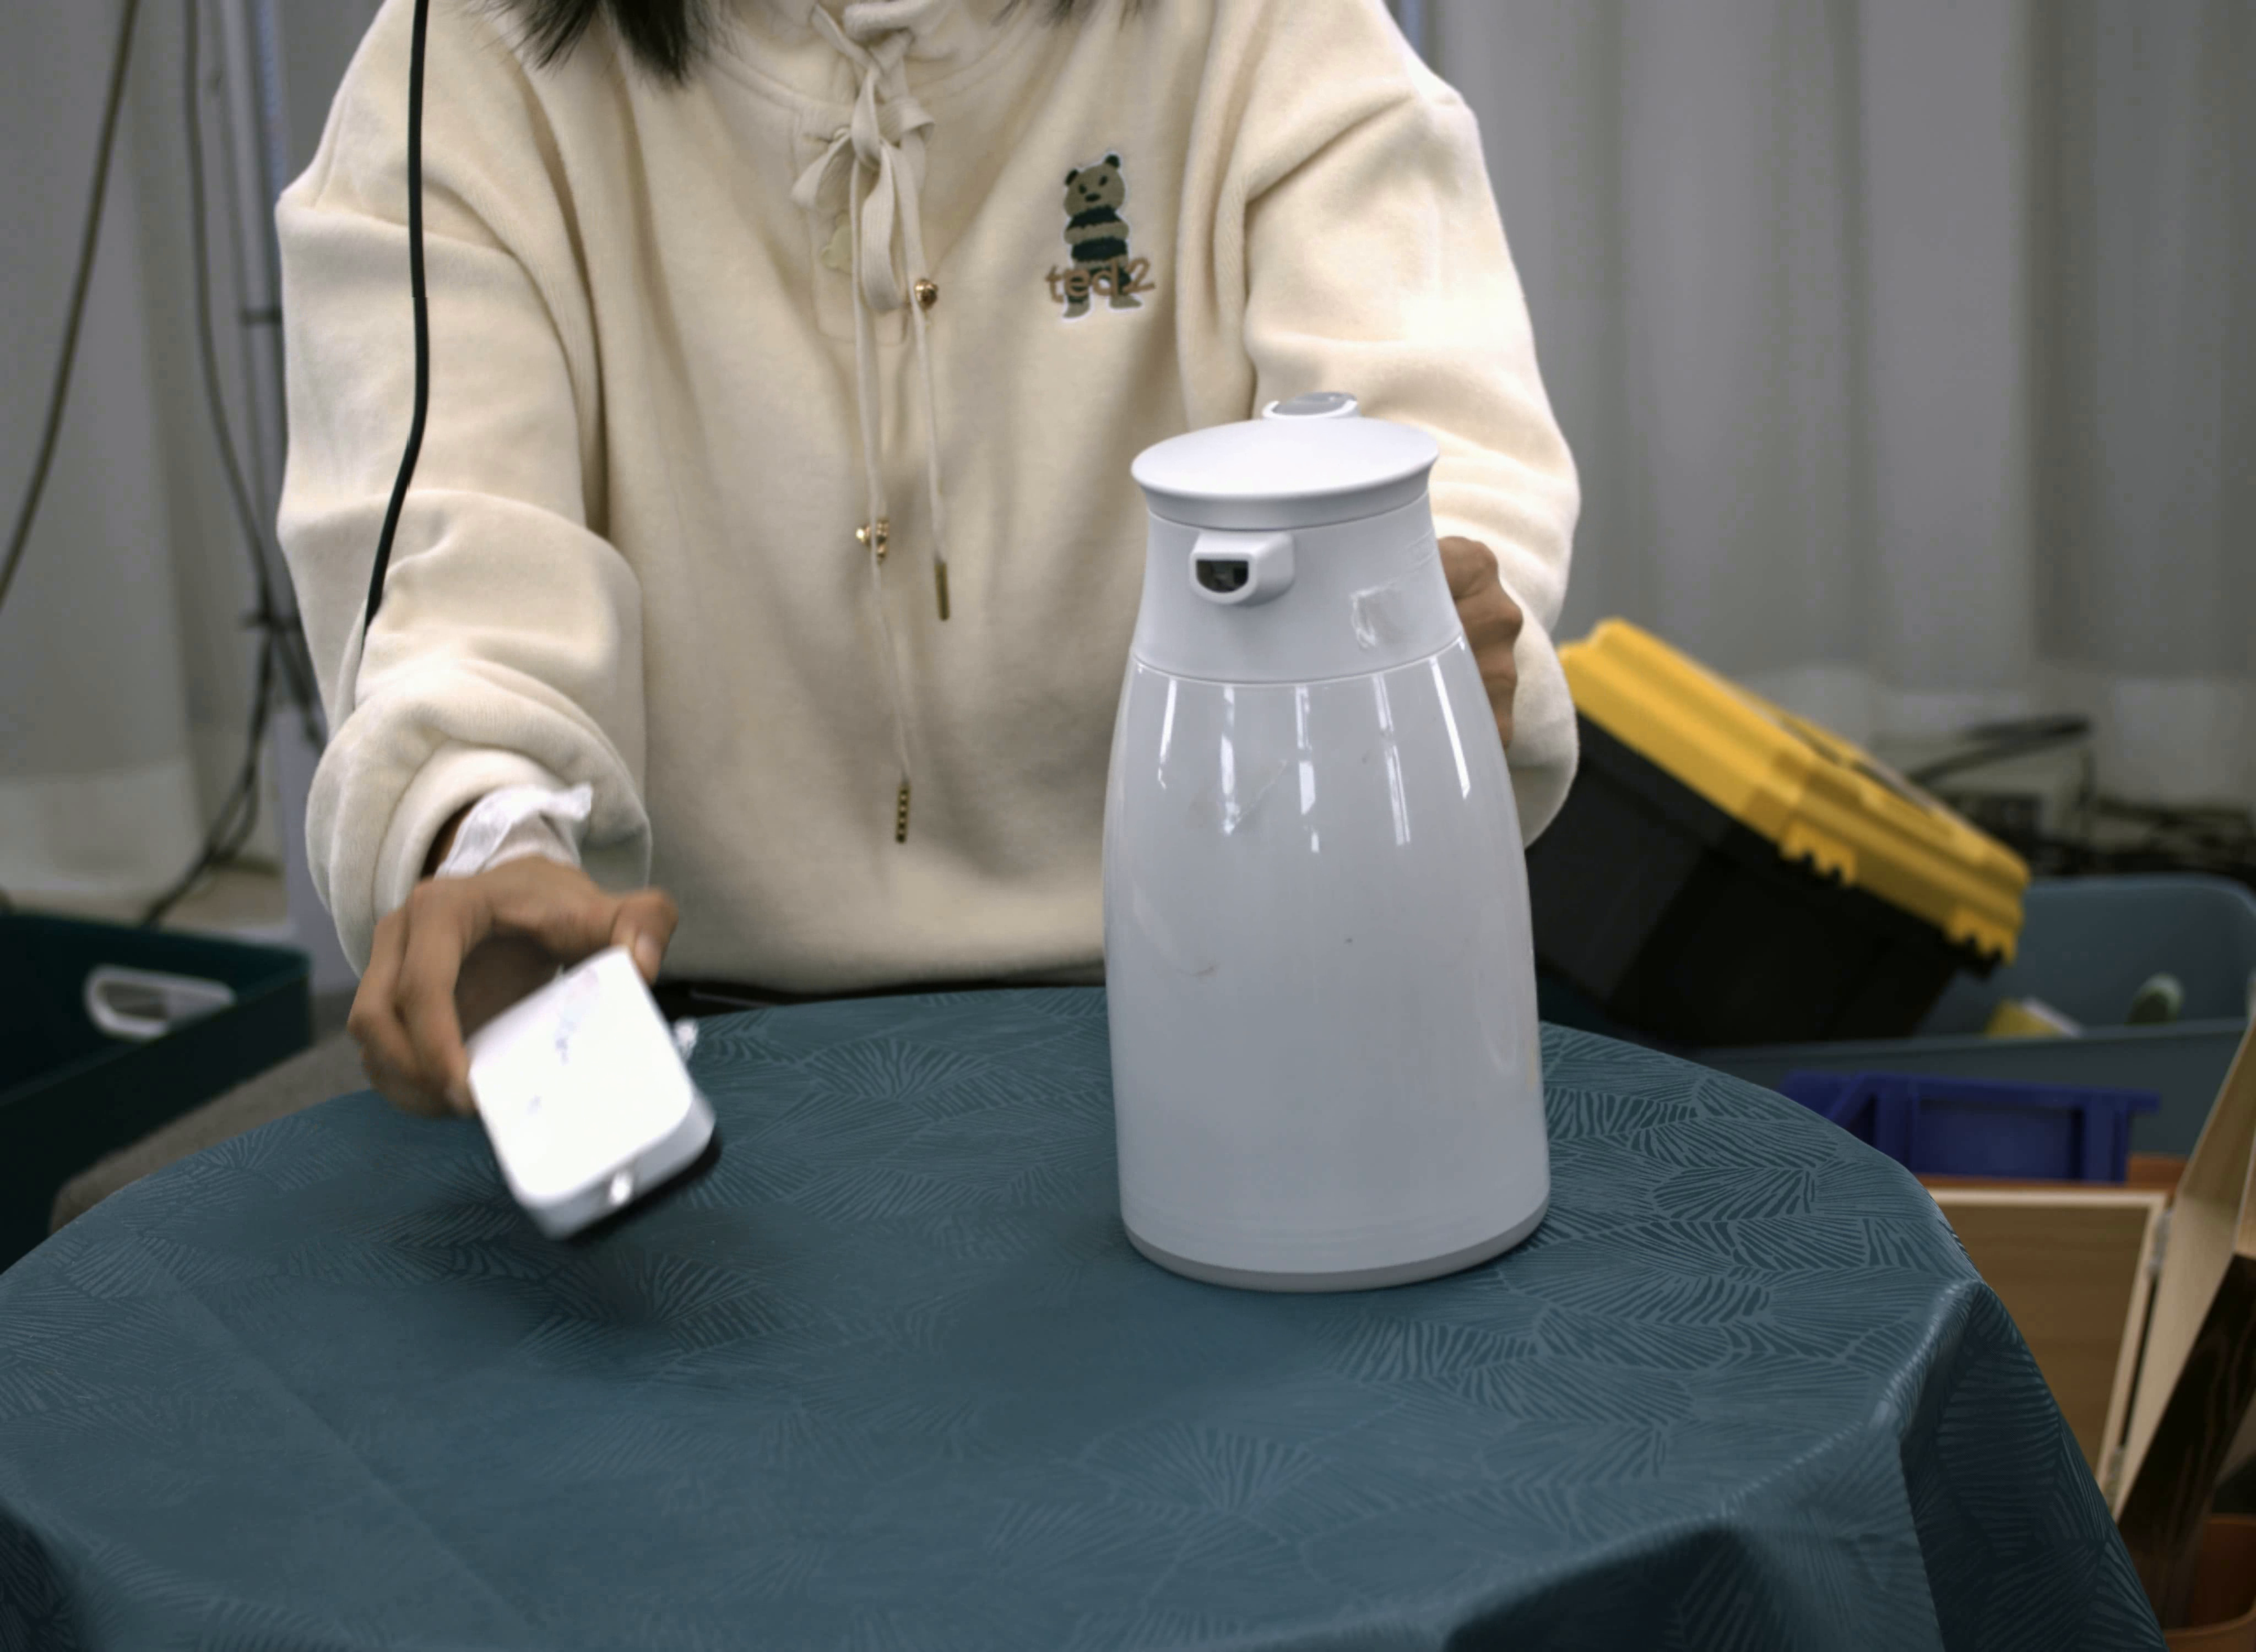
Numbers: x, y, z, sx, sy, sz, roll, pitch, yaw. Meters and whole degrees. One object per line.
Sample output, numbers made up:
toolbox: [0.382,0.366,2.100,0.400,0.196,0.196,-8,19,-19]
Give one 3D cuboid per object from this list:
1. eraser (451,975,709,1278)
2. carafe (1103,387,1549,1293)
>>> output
eraser: [-0.164,0.087,1.647,0.063,0.034,0.133,-28,27,-3]
carafe: [0.060,-0.005,1.657,0.132,0.247,0.168,1,16,19]
